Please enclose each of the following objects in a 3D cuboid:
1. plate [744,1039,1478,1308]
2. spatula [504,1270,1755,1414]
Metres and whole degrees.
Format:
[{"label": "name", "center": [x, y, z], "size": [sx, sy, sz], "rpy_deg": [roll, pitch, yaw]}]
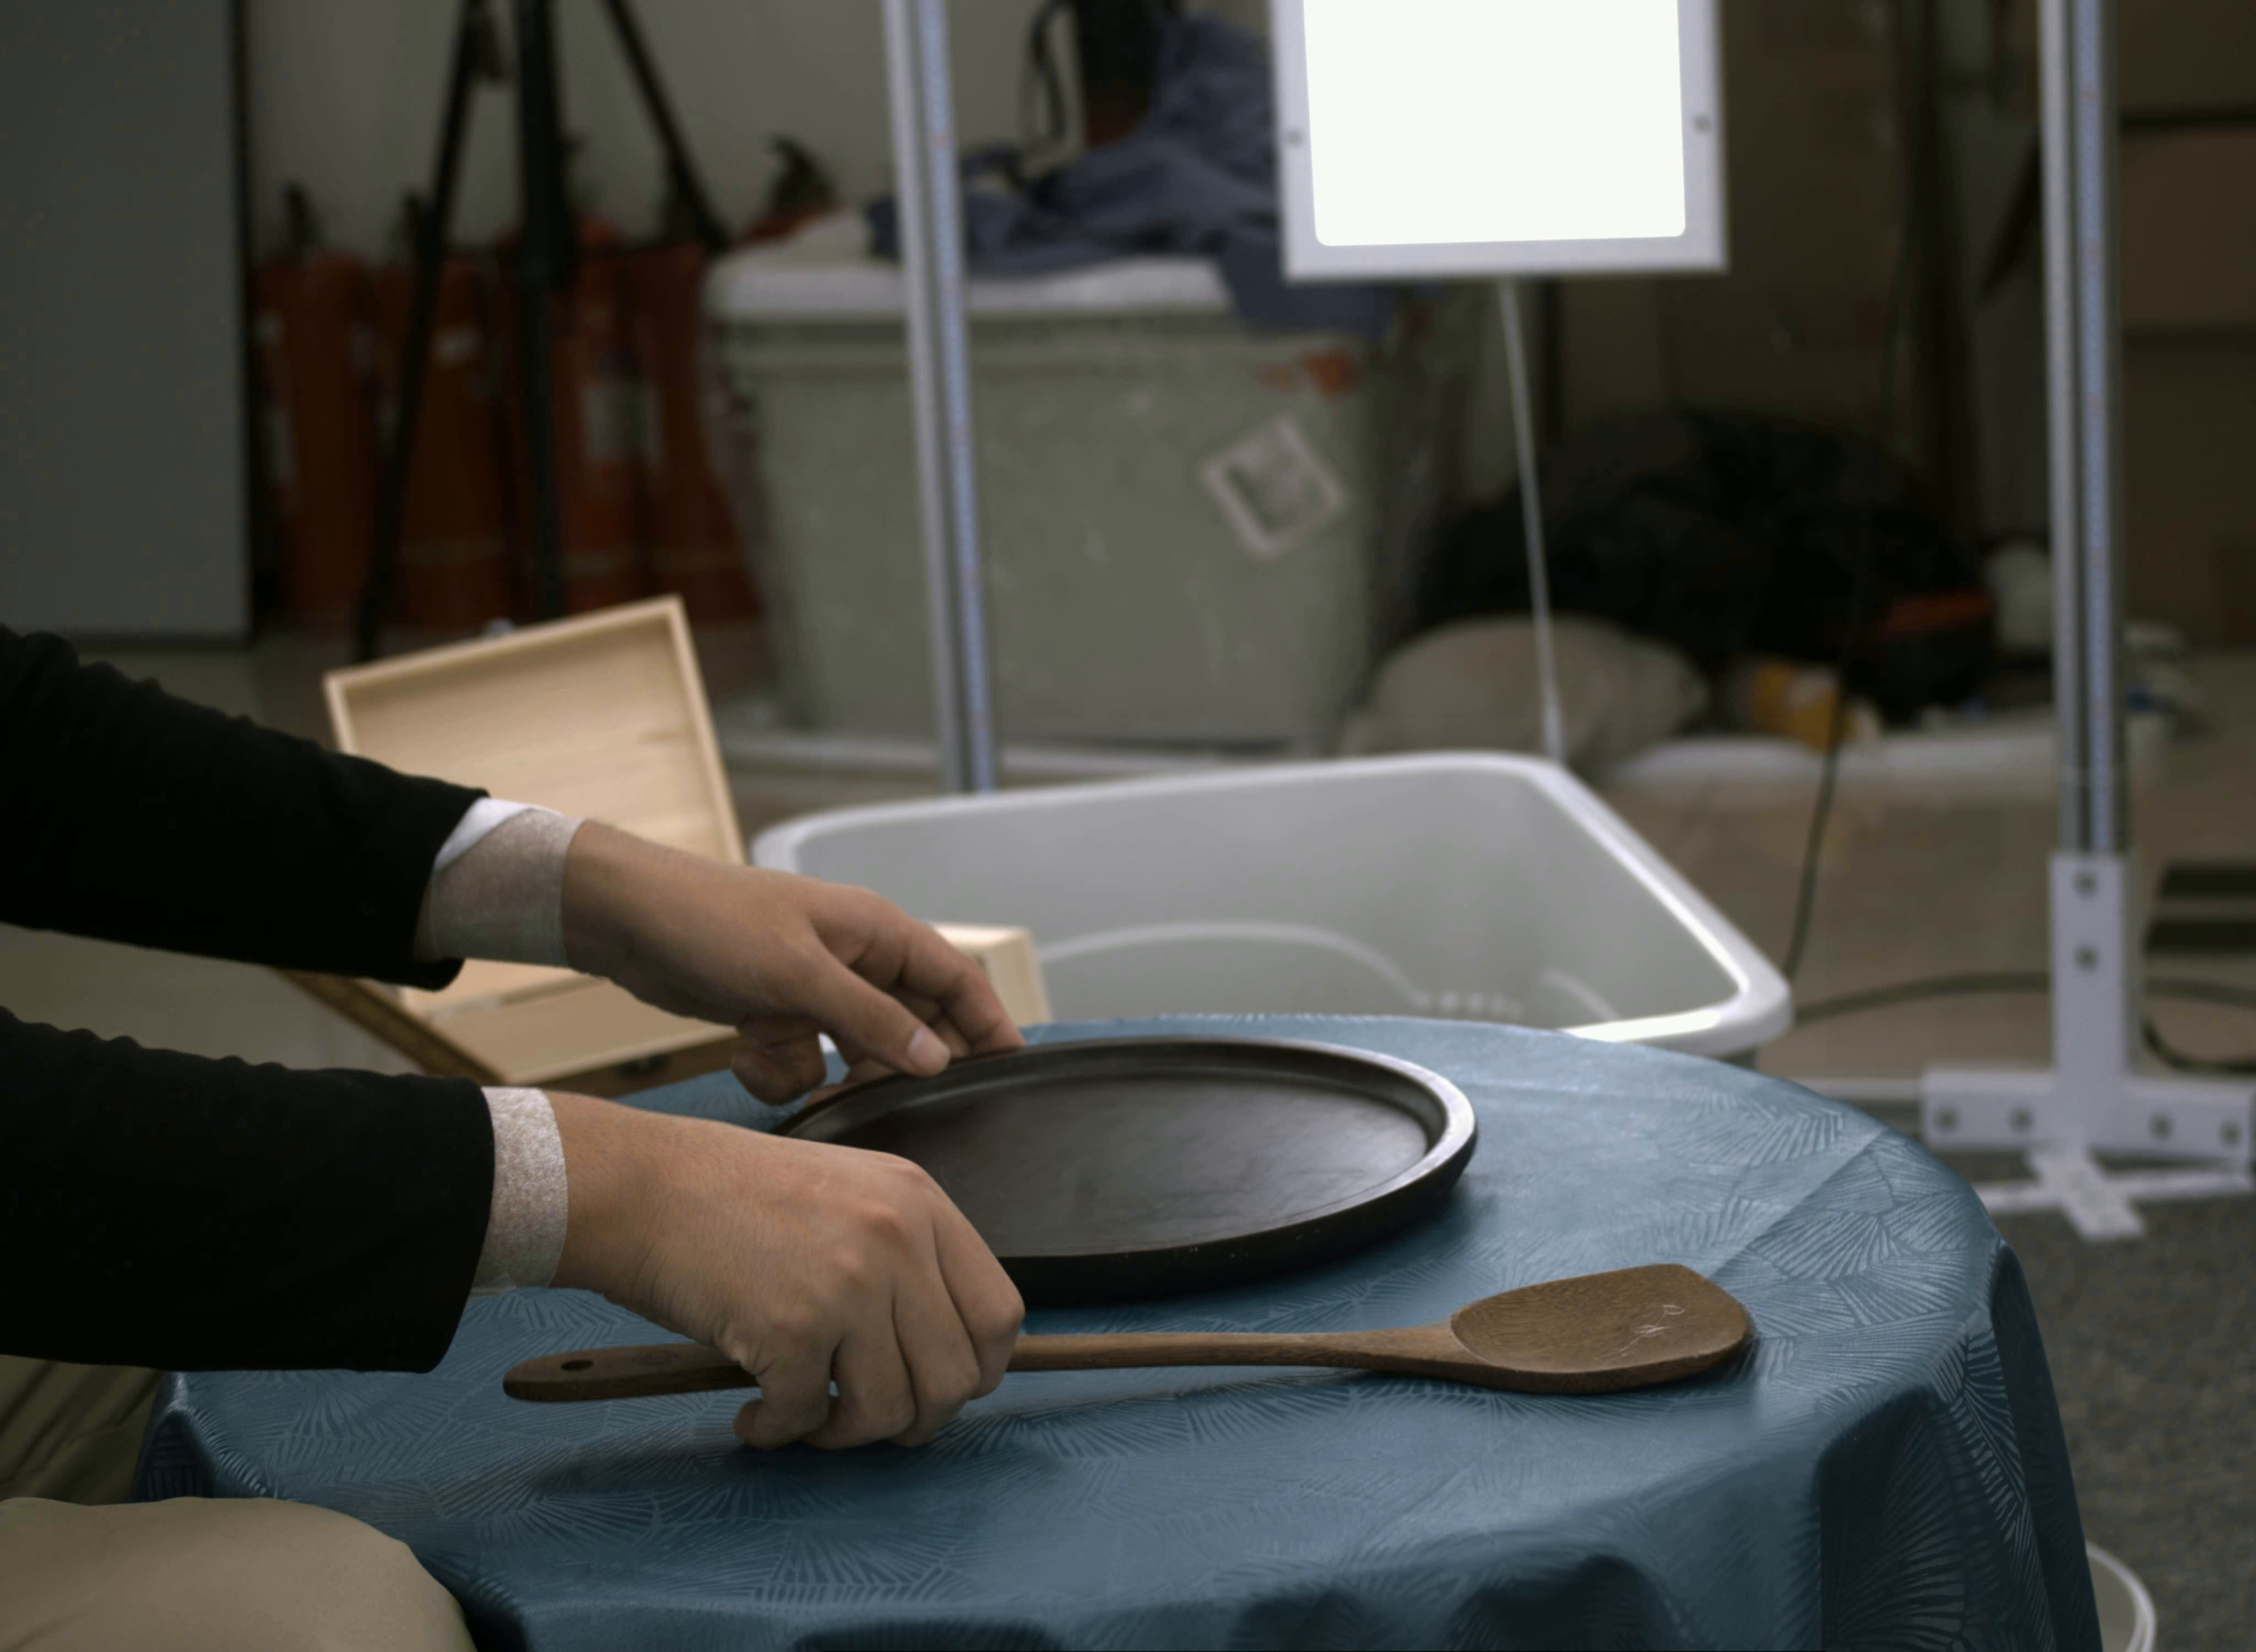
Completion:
[{"label": "plate", "center": [-0.005, 0.116, 1.891], "size": [0.254, 0.029, 0.254], "rpy_deg": [-5, 15, 0]}, {"label": "spatula", "center": [0.001, 0.162, 1.692], "size": [0.384, 0.016, 0.096], "rpy_deg": [-2, 13, -3]}]
